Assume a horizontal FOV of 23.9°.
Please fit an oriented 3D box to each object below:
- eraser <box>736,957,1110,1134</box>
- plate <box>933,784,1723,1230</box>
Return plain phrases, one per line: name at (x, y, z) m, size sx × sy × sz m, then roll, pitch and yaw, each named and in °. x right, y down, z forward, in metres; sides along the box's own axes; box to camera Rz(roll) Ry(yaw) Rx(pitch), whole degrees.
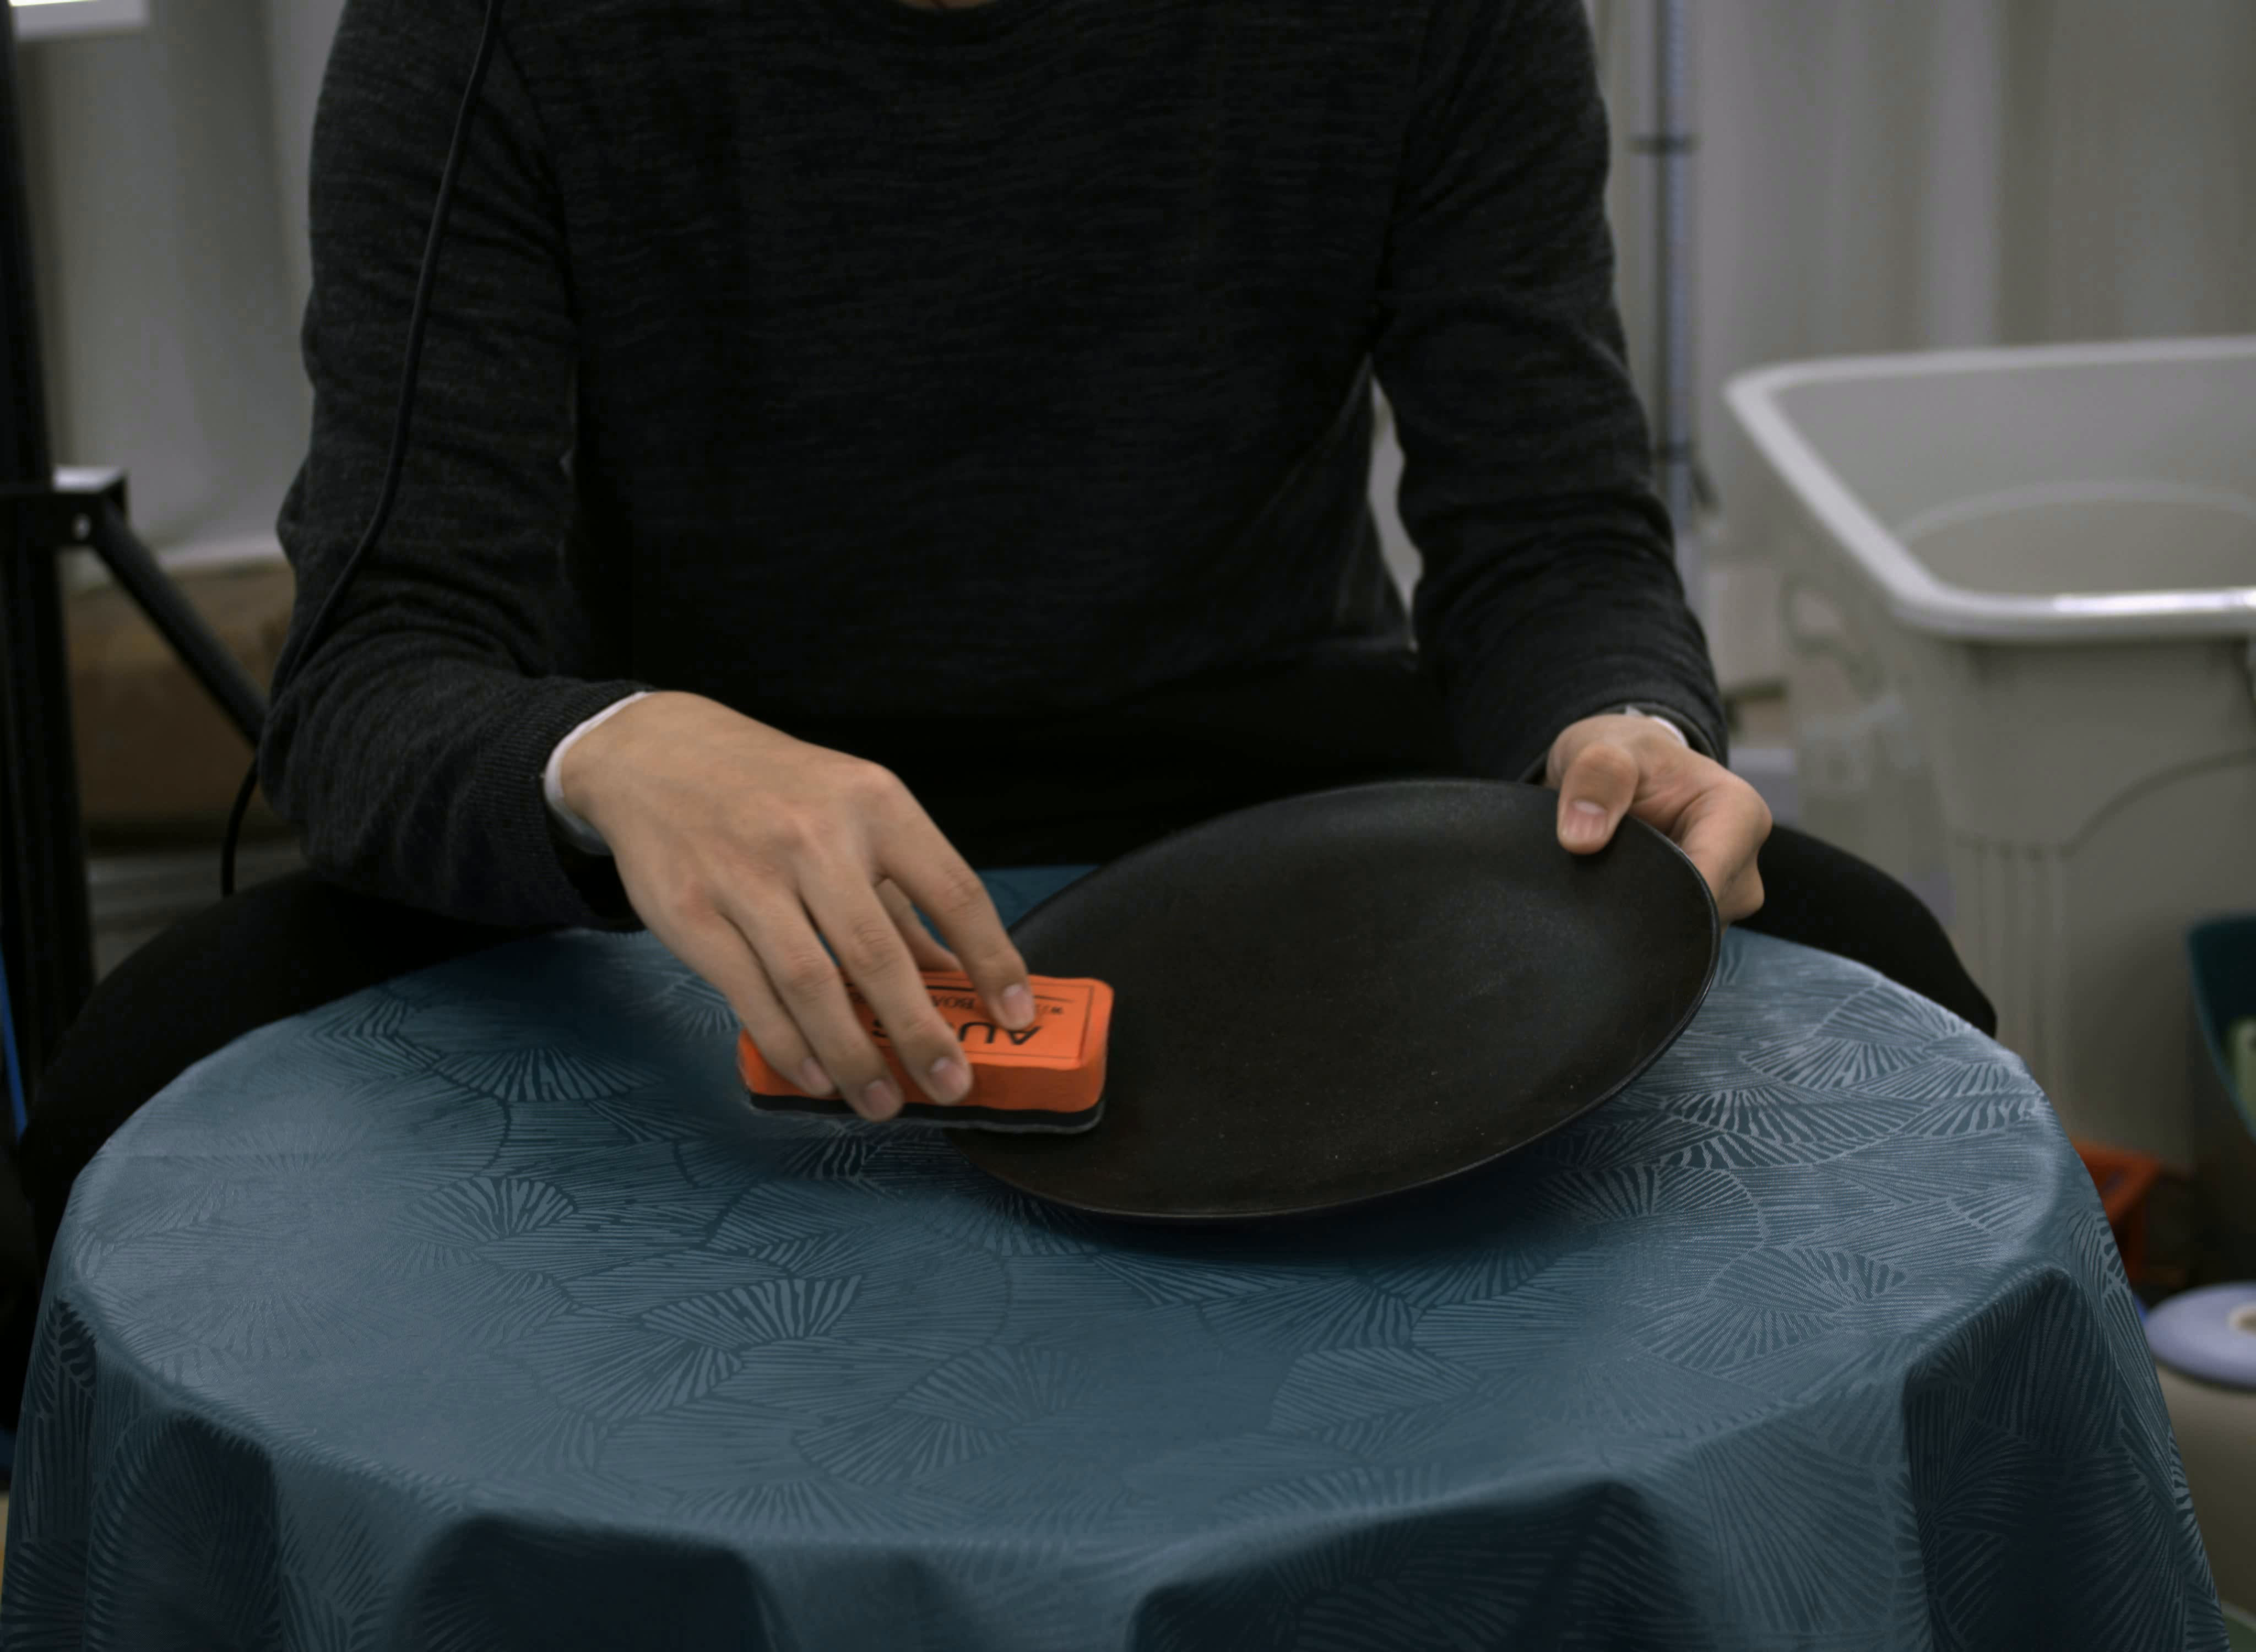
eraser at (-0.061, 0.065, 1.592) m, size 0.108 × 0.023 × 0.059 m, roll 4°, pitch 27°, yaw 8°
plate at (0.059, 0.058, 1.593) m, size 0.244 × 0.023 × 0.246 m, roll -13°, pitch 28°, yaw 5°
